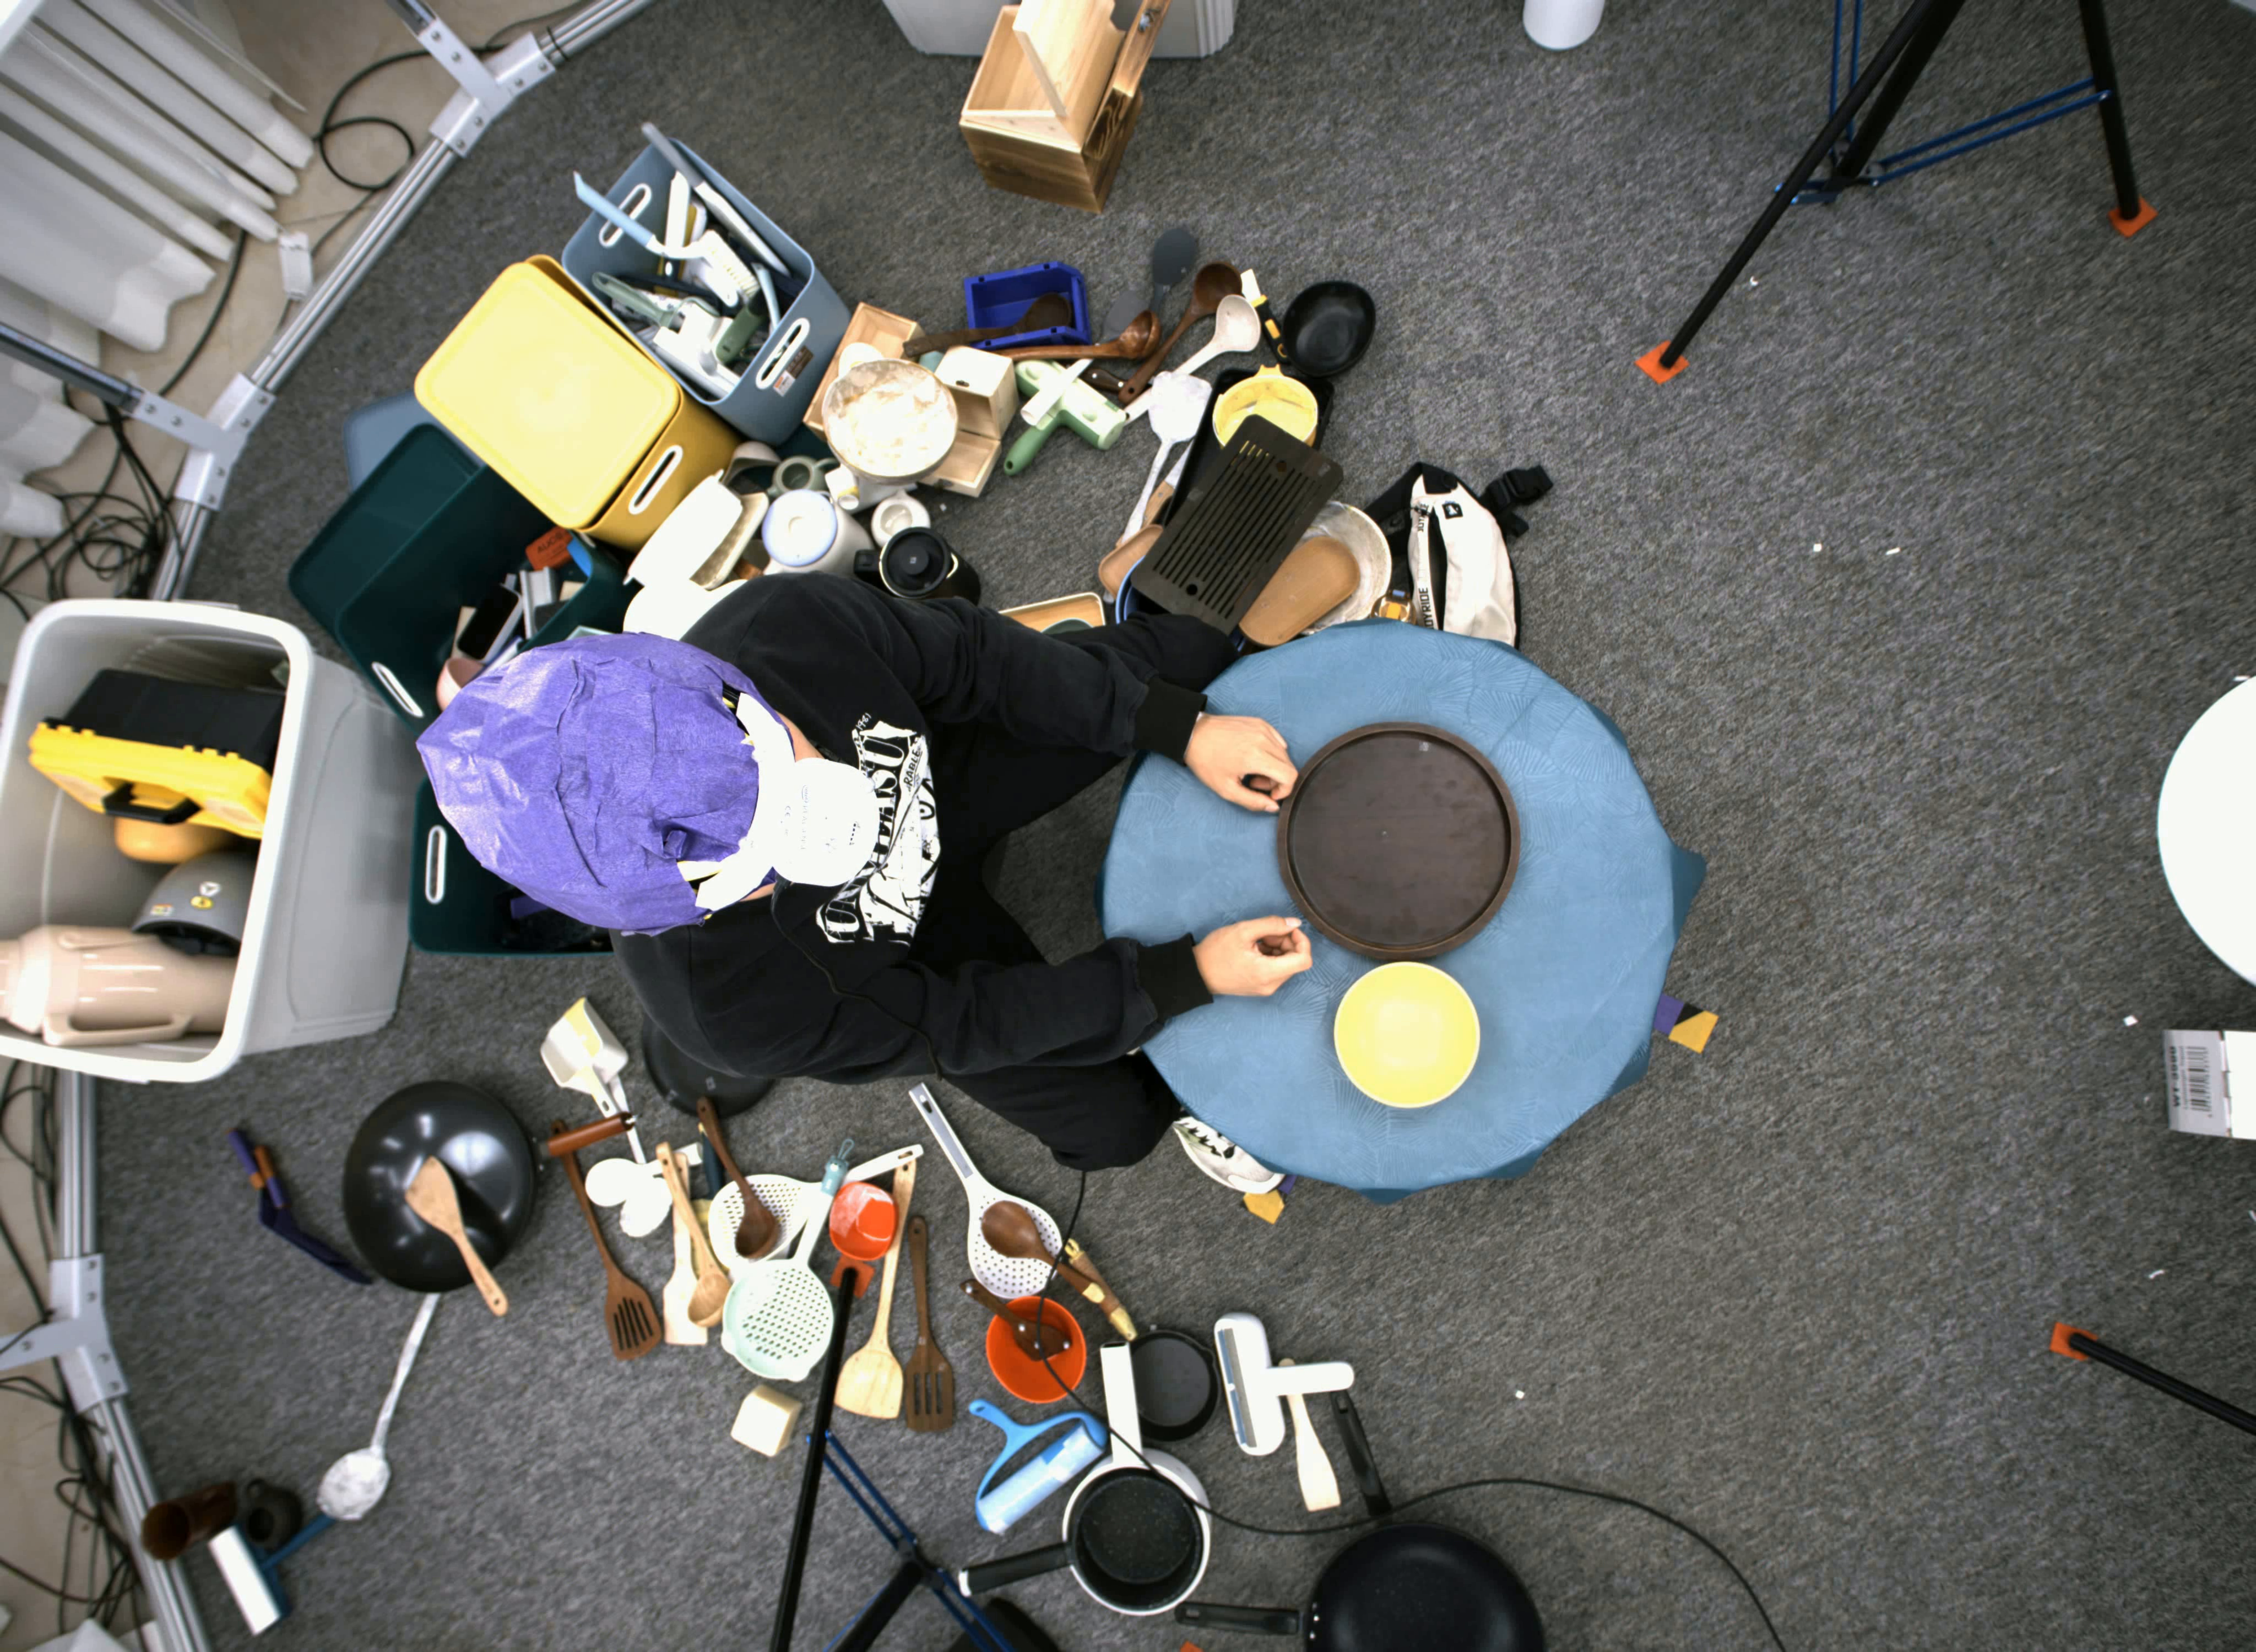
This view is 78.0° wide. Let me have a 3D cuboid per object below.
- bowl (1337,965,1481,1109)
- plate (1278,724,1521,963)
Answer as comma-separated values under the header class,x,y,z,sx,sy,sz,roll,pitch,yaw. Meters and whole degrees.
class,x,y,z,sx,sy,sz,roll,pitch,yaw
bowl,0.289,0.216,1.423,0.146,0.060,0.144,-2,83,12
plate,0.285,0.017,1.455,0.256,0.029,0.254,-1,88,11
